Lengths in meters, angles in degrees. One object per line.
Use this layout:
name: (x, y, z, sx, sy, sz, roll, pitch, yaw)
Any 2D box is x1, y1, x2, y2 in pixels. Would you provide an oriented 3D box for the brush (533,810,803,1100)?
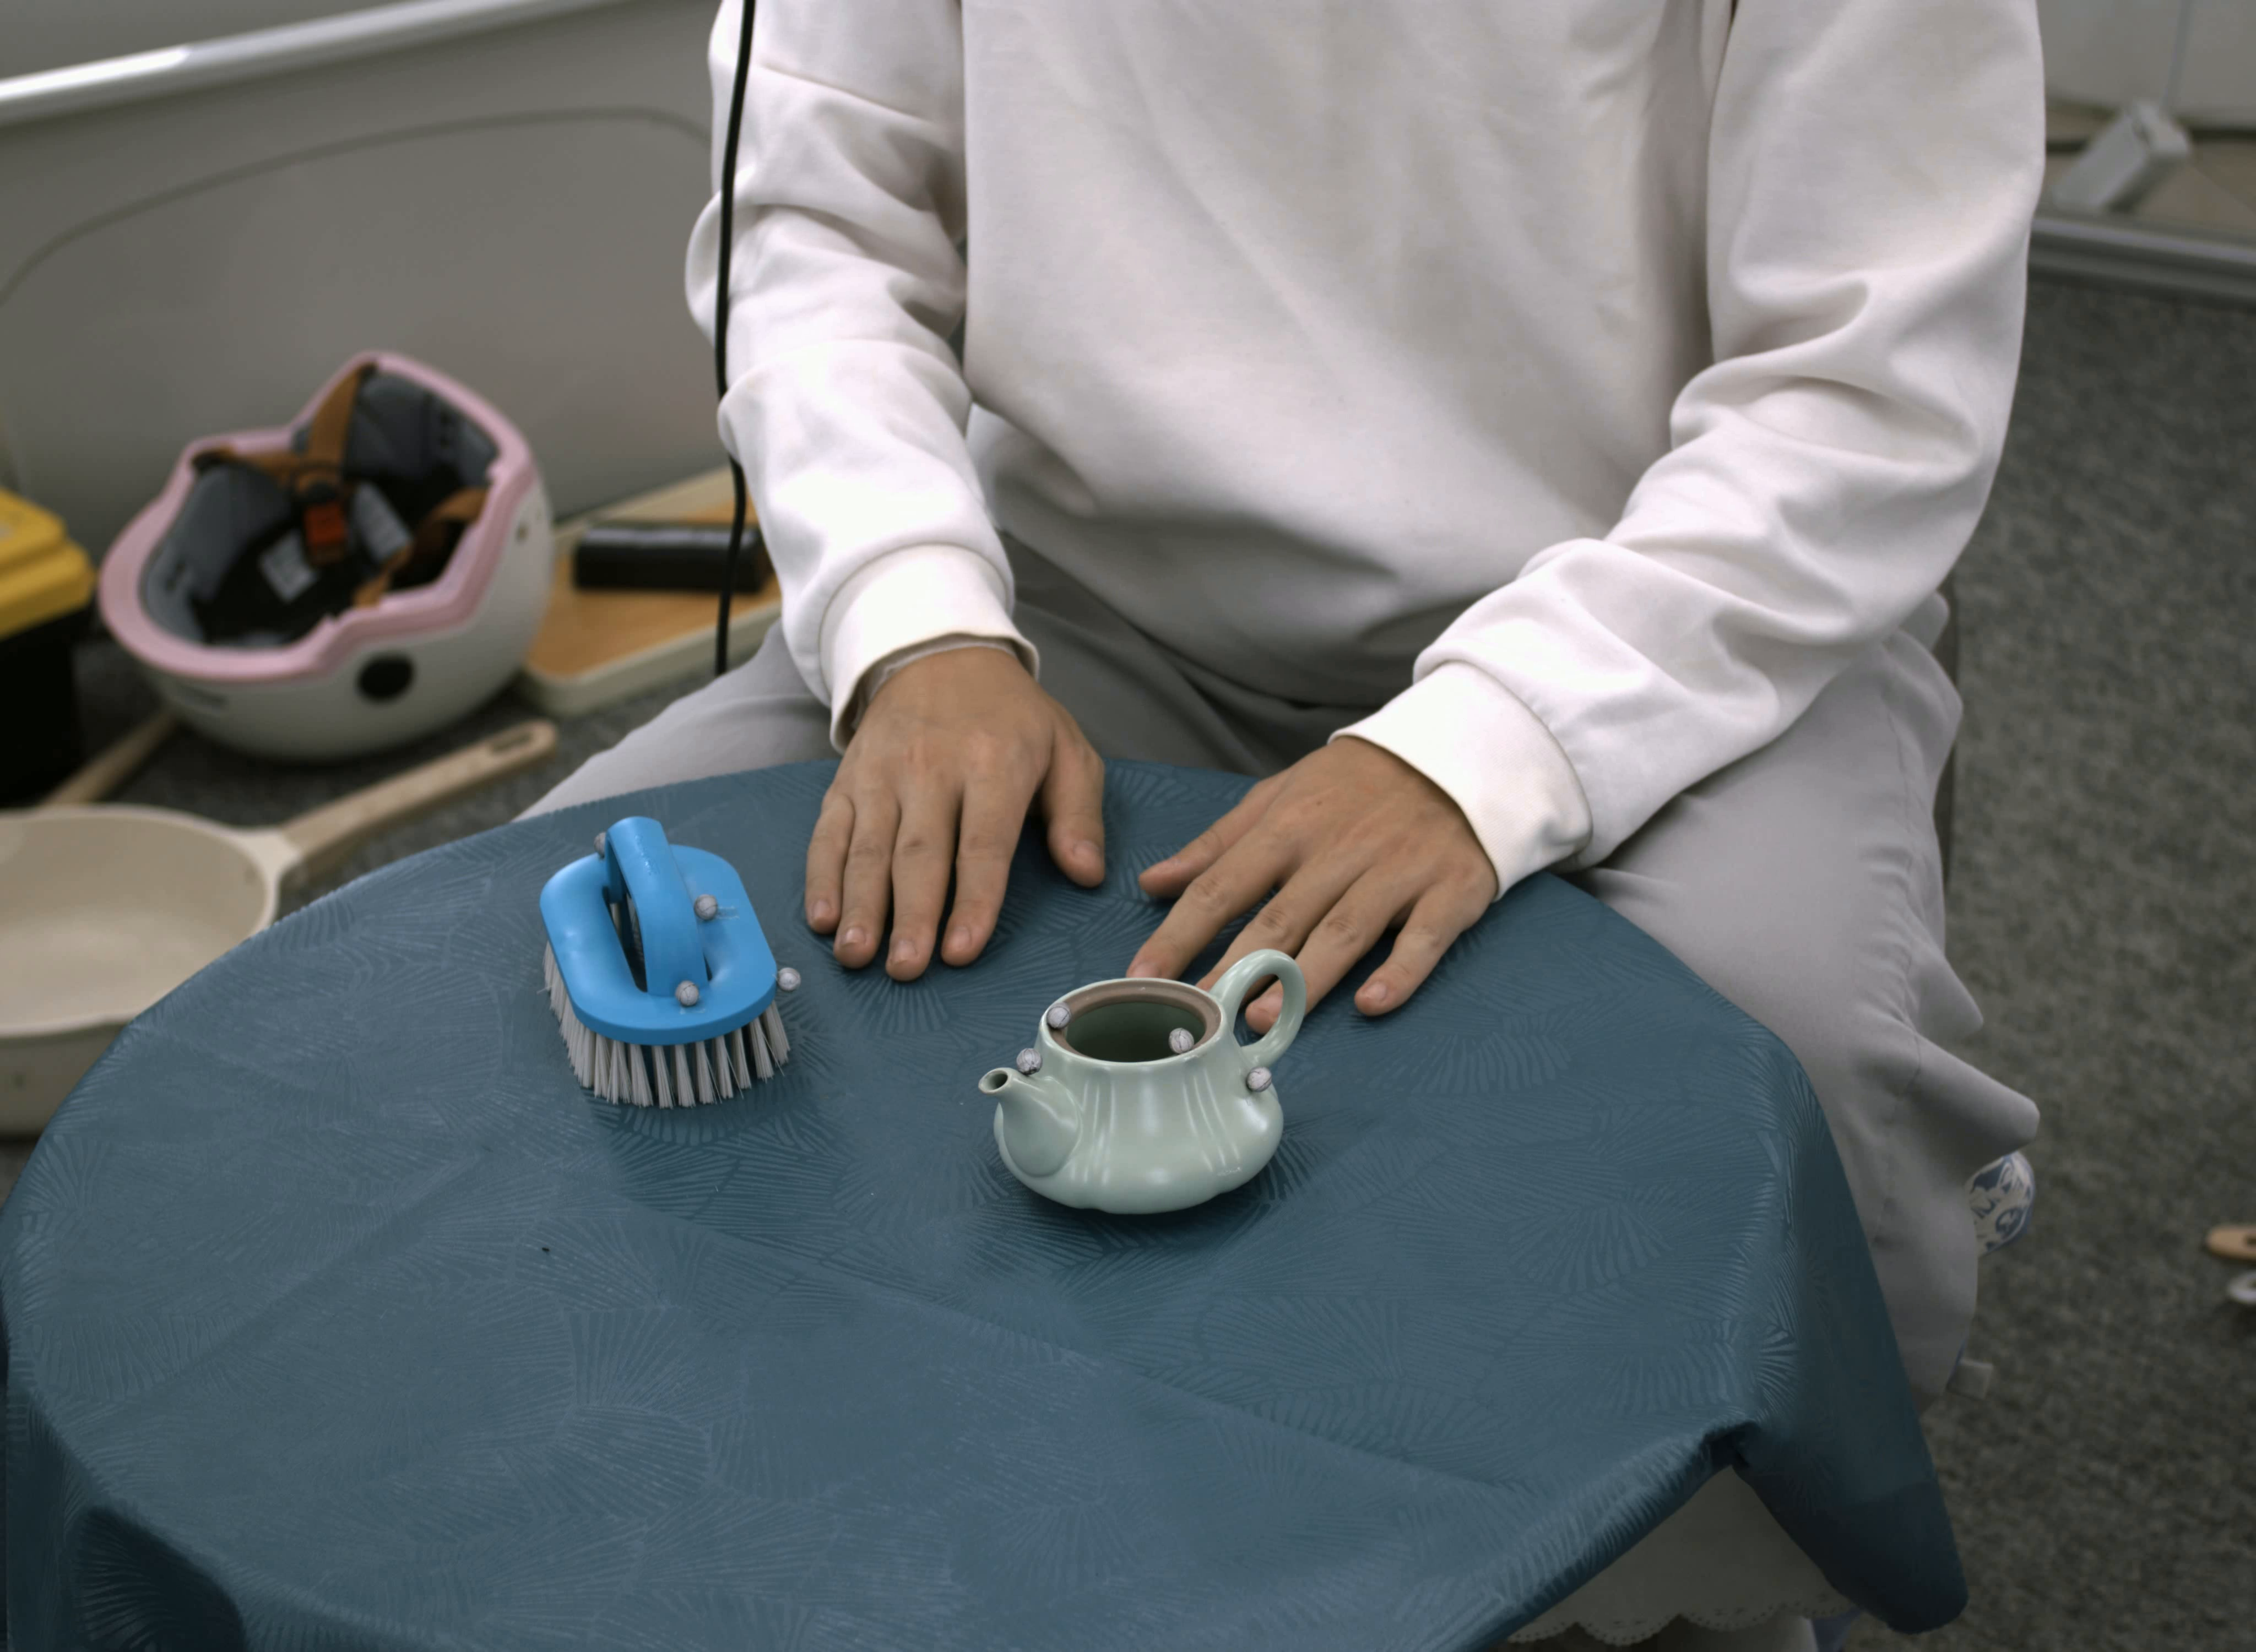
brush: (-0.165, 0.037, 1.973, 0.084, 0.063, 0.143, -12, 28, -8)

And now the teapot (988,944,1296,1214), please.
teapot: (0.006, 0.087, 1.868, 0.138, 0.061, 0.096, -25, 32, -36)
